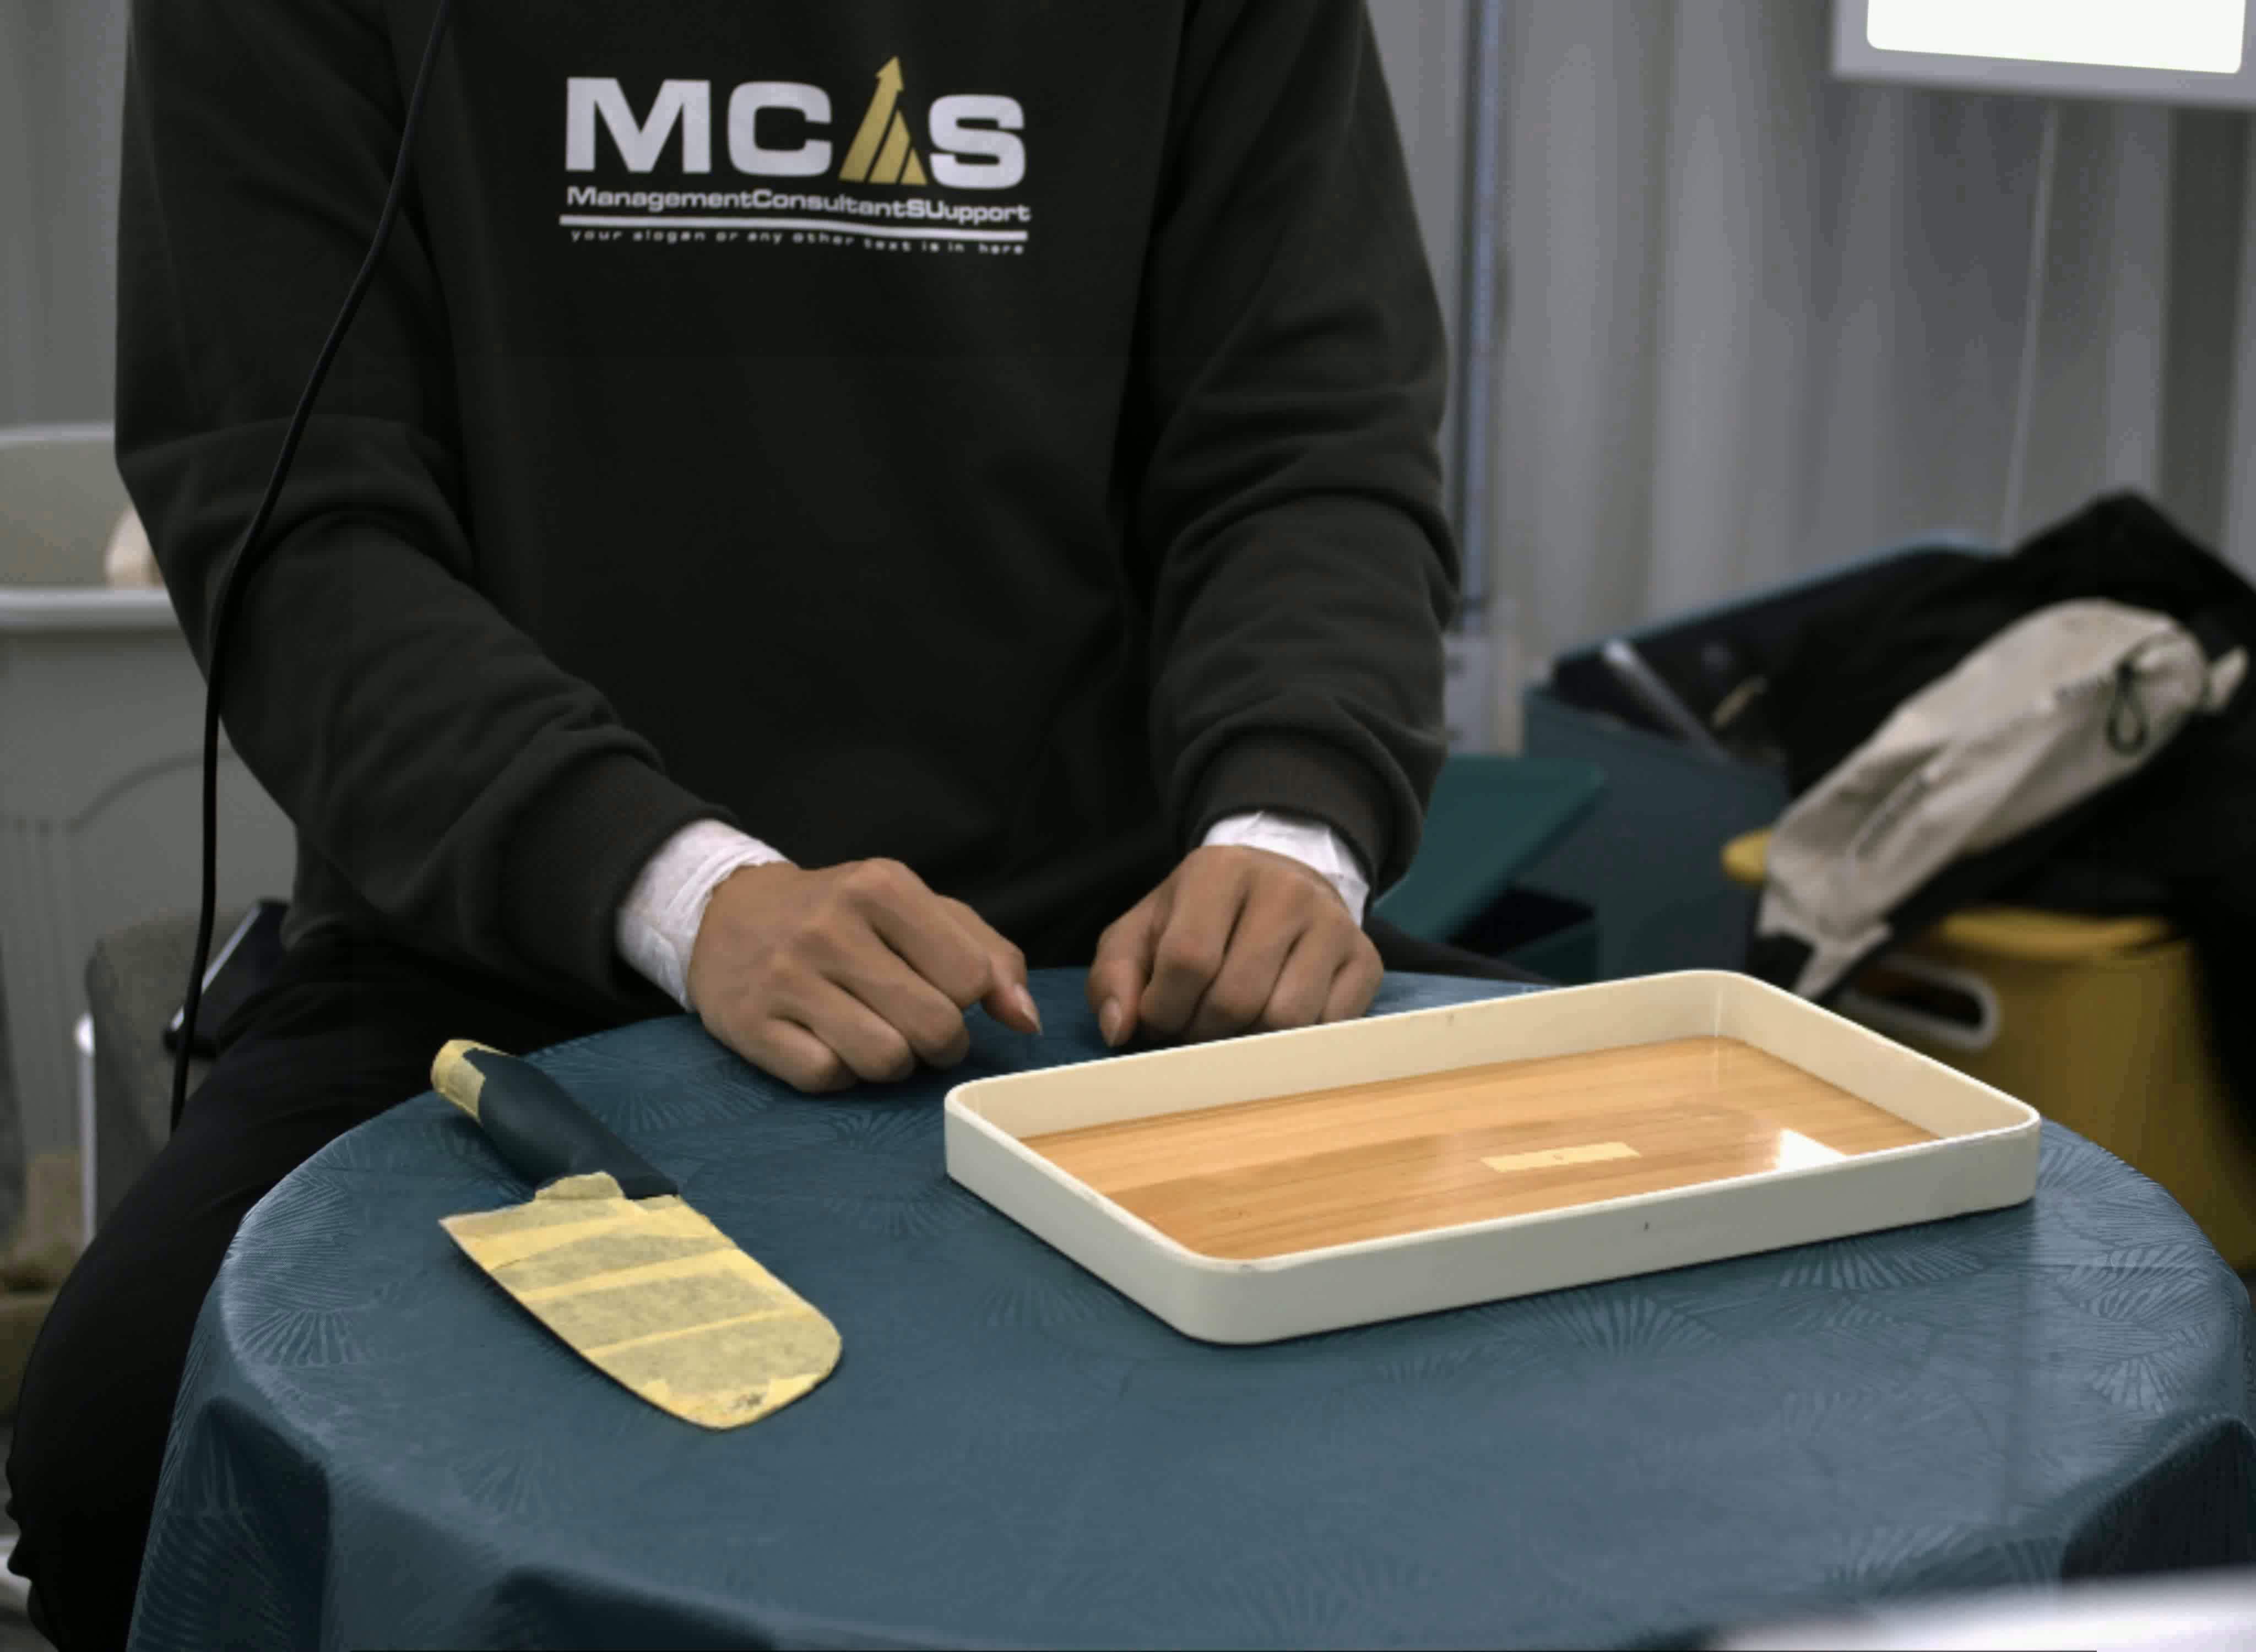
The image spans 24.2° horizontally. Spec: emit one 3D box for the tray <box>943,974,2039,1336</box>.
[{"bbox_3d":[0.111,0.098,1.631,0.301,0.027,0.189,-7,16,-27],"label":"tray"}]

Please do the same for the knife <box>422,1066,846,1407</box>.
[{"bbox_3d":[-0.161,0.121,1.559,0.081,0.027,0.286,-6,17,-26],"label":"knife"}]
